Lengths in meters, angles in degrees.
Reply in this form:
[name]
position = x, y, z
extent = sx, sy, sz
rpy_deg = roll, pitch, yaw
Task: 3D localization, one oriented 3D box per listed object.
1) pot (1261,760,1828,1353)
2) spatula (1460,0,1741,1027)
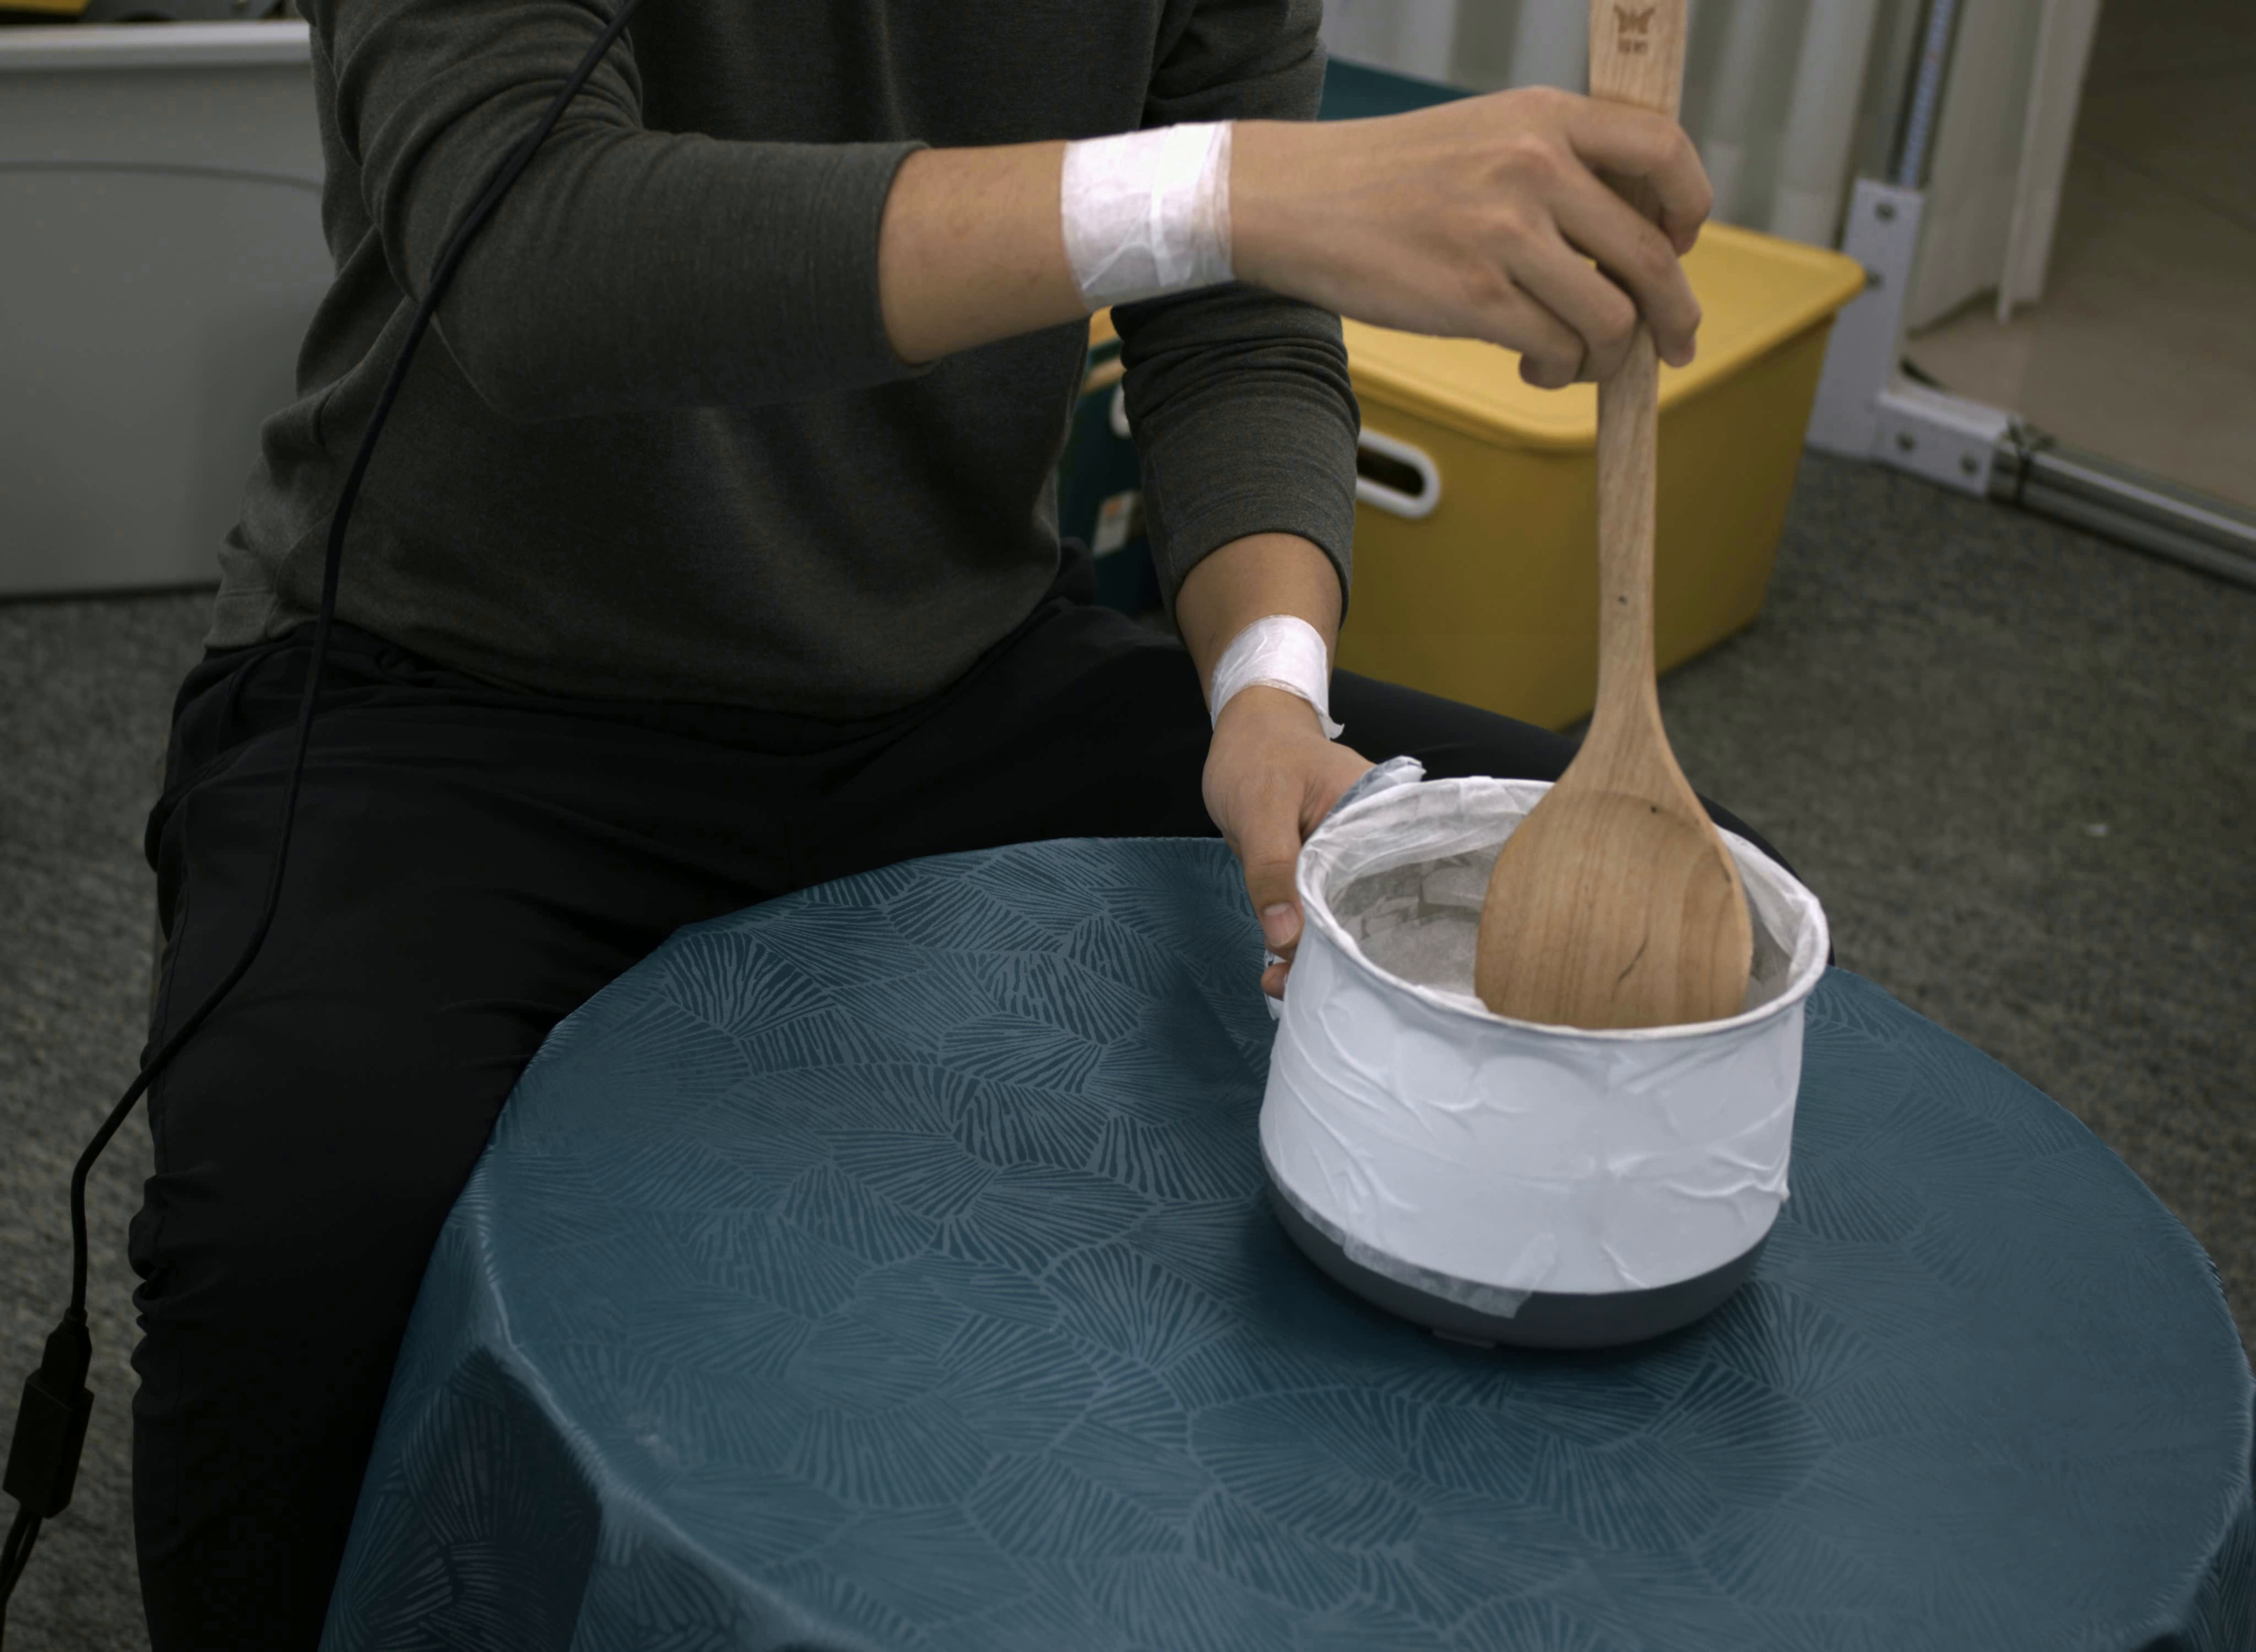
[pot]
position = 0.121, 0.070, 1.792
extent = 0.177, 0.136, 0.236
rpy_deg = -10, 30, -29
[spatula]
position = 0.152, -0.108, 1.696
extent = 0.096, 0.390, 0.018
rpy_deg = 7, 21, 24
